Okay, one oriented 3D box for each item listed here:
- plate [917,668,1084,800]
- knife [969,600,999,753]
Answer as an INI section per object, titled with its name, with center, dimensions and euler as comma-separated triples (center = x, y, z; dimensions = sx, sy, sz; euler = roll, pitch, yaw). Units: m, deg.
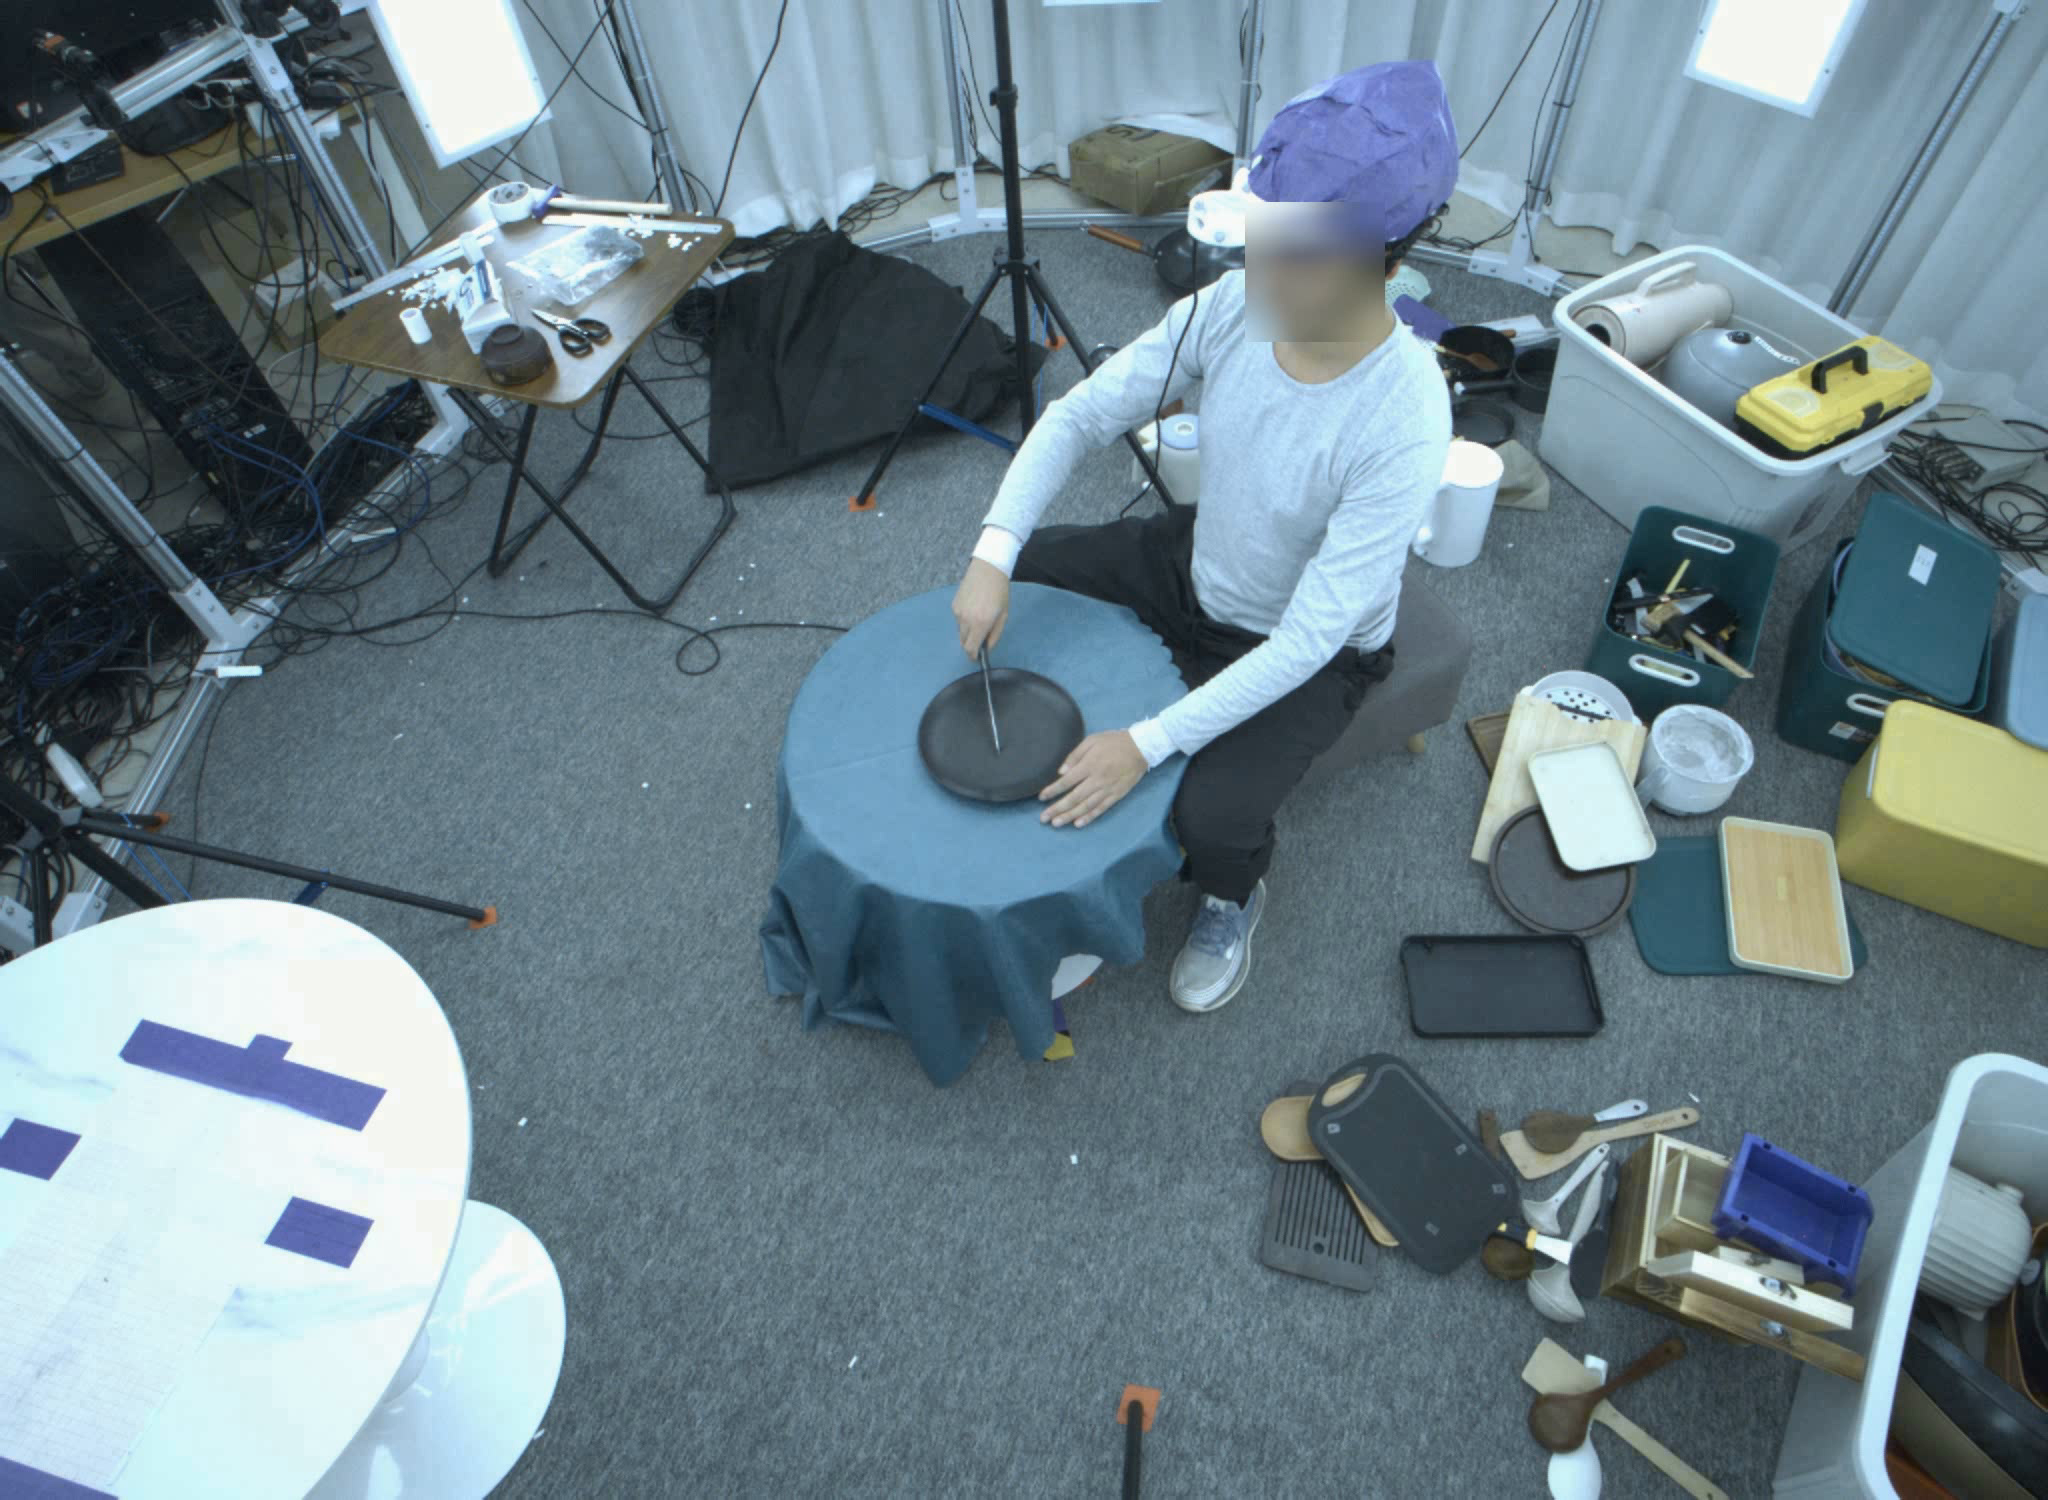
[plate]
center = -0.034, -0.022, 1.798
dimensions = 0.244, 0.023, 0.242
euler = 0, 54, 1
[knife]
center = -0.056, -0.110, 1.796
dimensions = 0.016, 0.024, 0.236
euler = -9, 78, -2
